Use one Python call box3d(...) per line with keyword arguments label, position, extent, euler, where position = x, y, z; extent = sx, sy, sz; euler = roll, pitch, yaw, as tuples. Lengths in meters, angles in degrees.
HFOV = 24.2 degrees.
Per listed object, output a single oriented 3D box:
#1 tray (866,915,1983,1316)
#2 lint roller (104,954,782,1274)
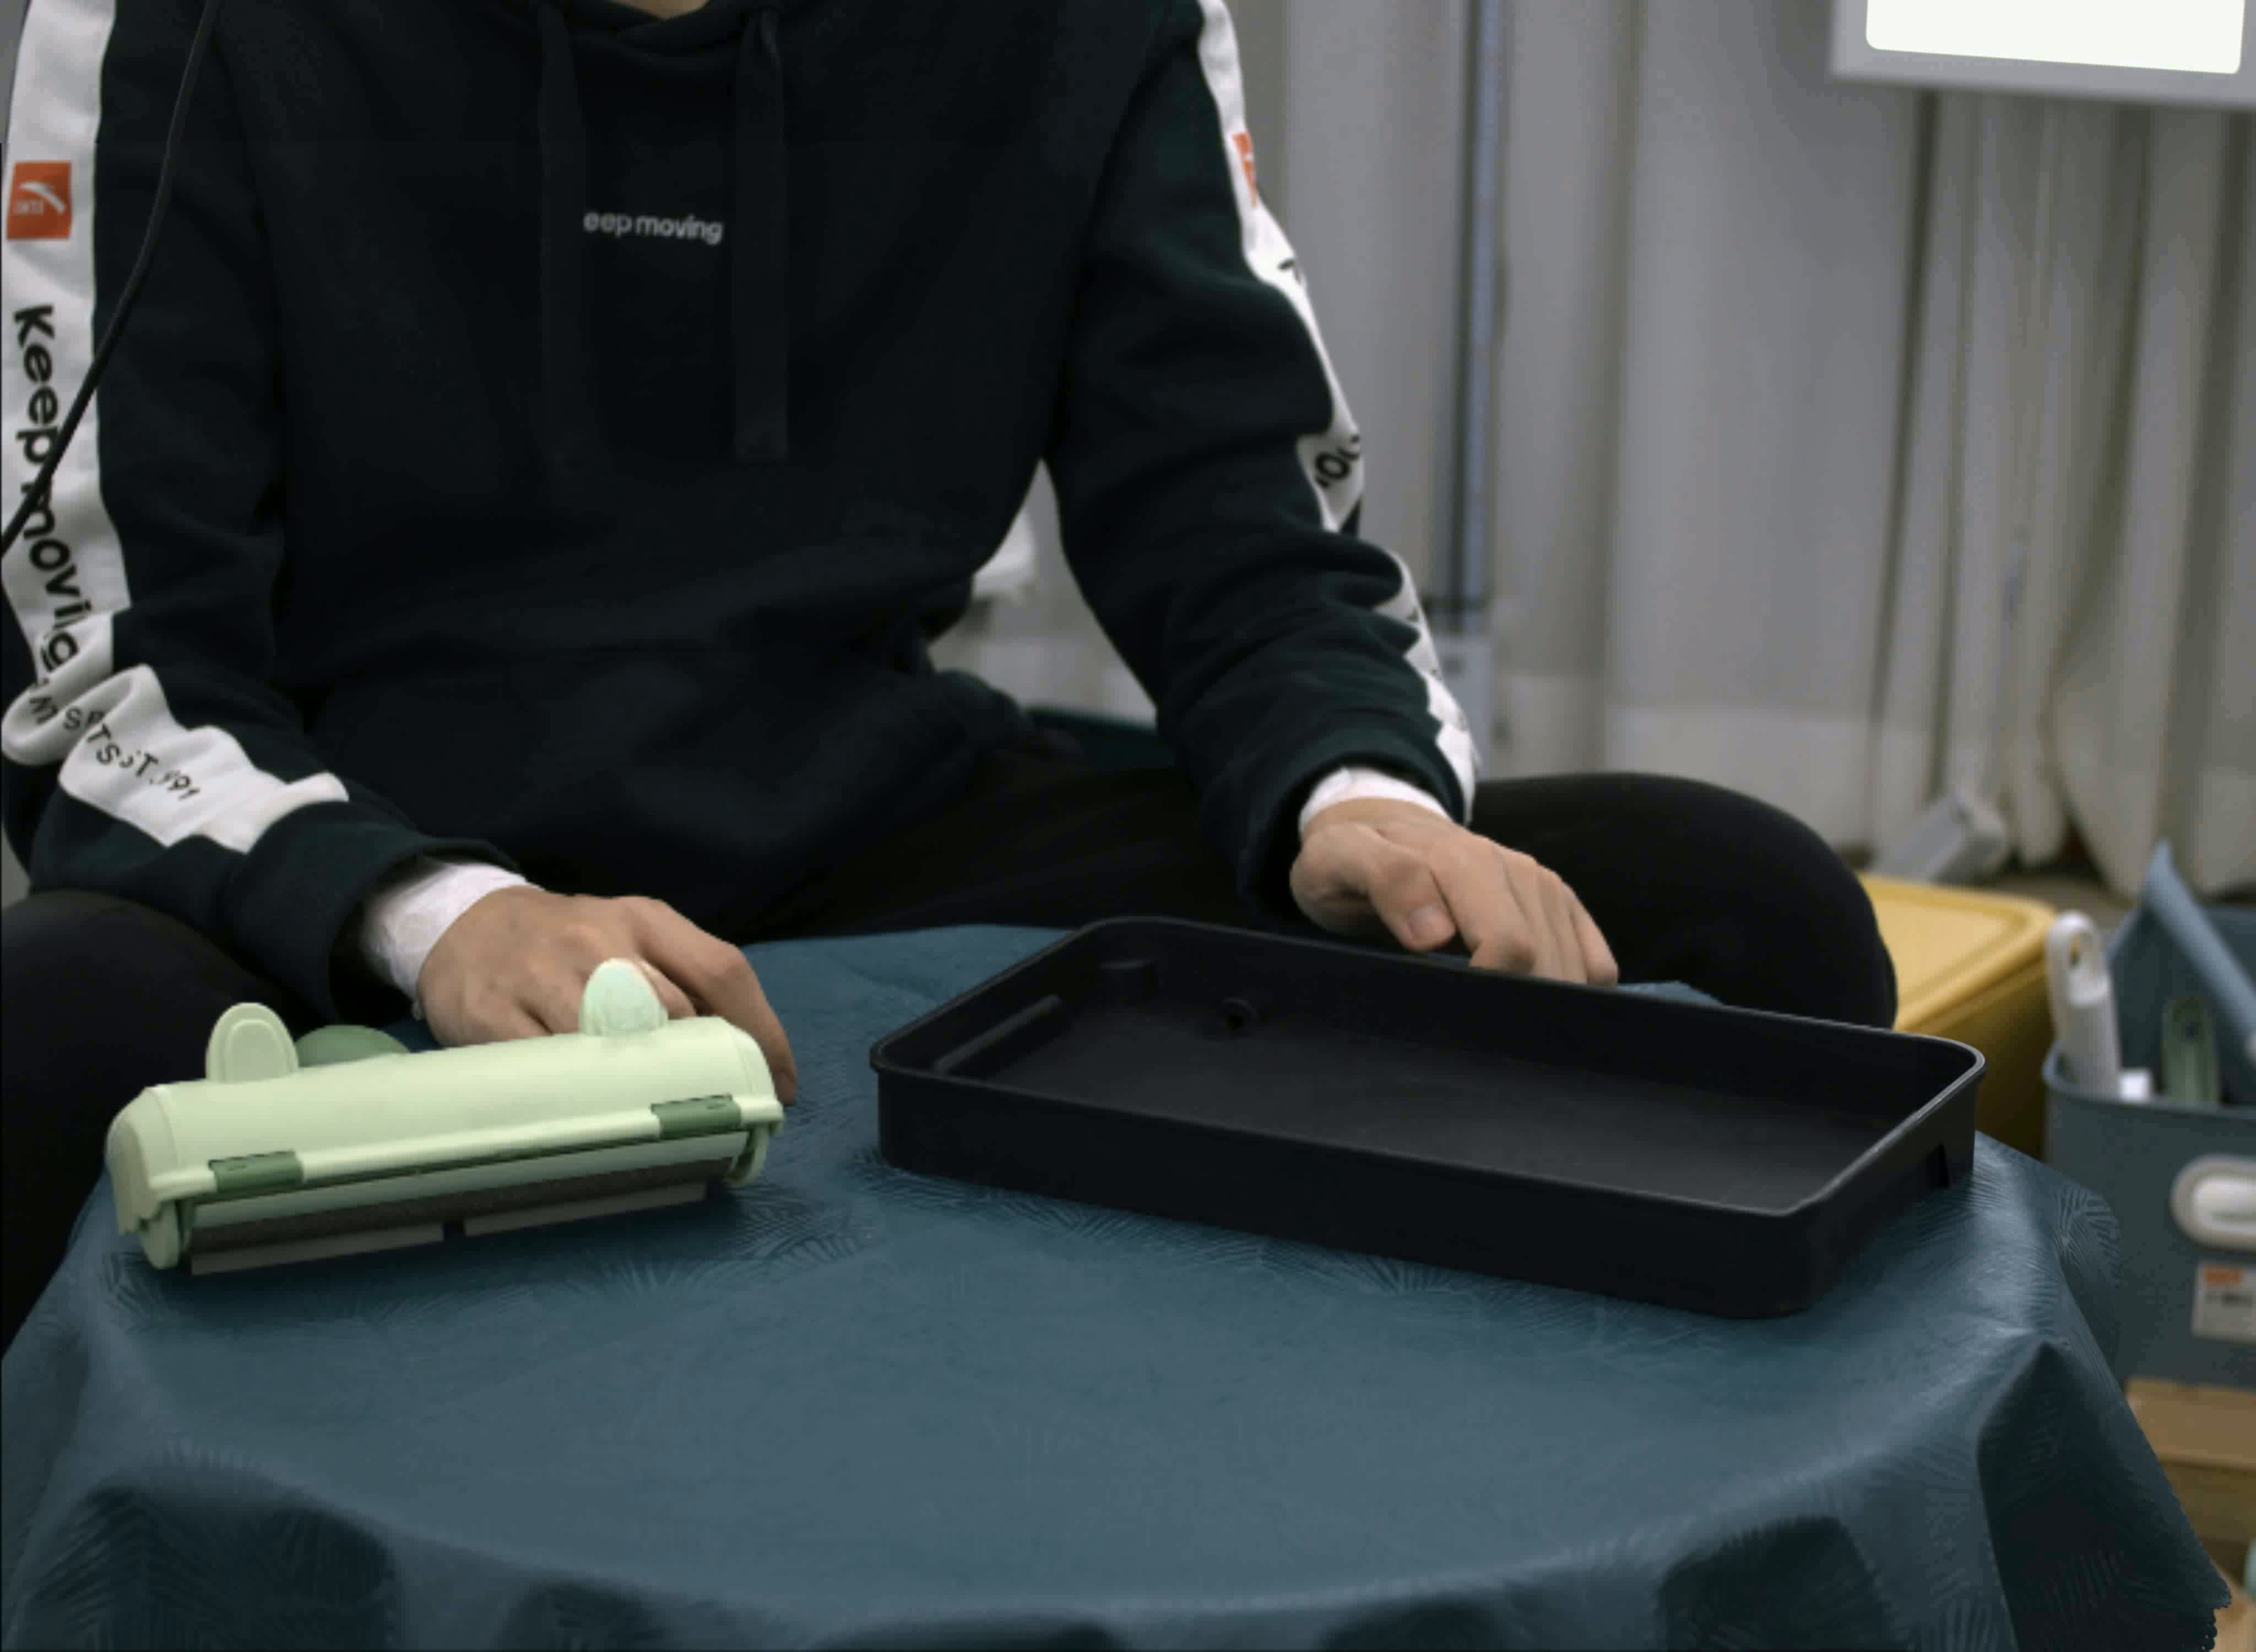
box3d(label="tray", position=(0.092, 0.086, 1.648), extent=(0.314, 0.037, 0.185), euler=(8, 17, 26))
box3d(label="lint roller", position=(-0.226, 0.071, 1.613), extent=(0.199, 0.083, 0.181), euler=(-7, 20, -24))
